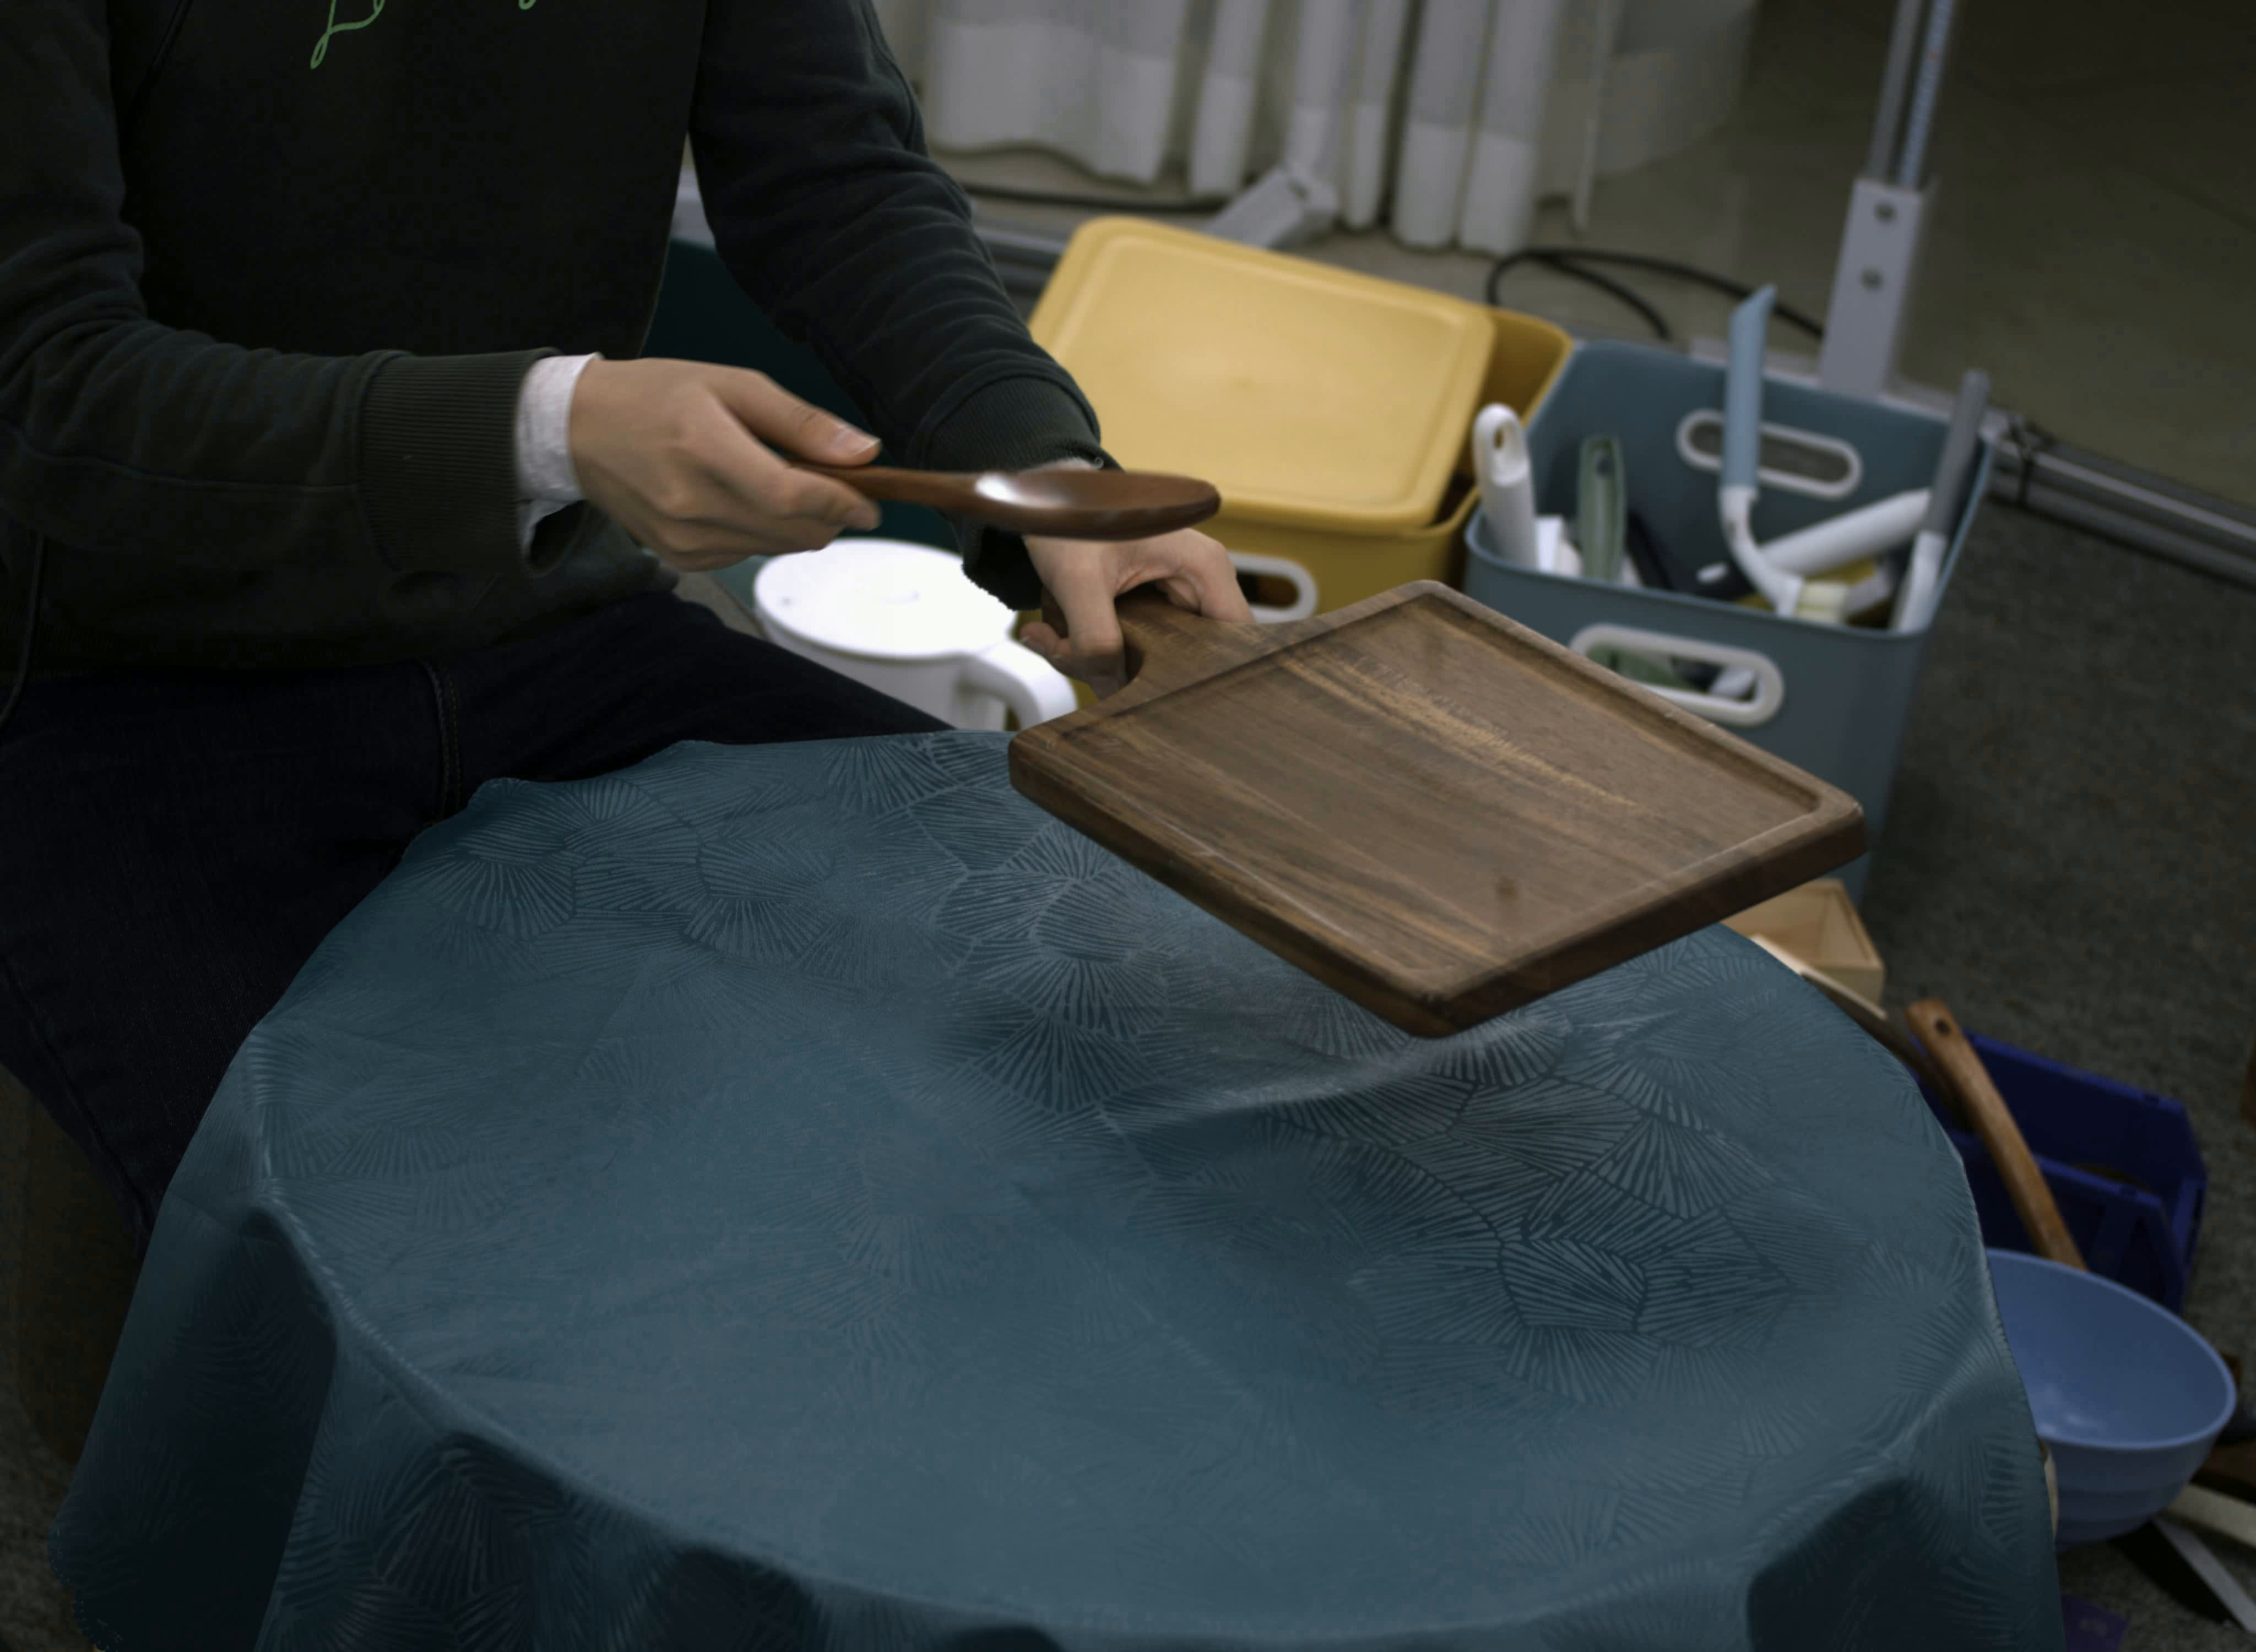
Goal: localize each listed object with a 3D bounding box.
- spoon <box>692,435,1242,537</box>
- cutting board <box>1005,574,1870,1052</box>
[{"bbox_3d":[-0.059,-0.118,1.829,0.217,0.017,0.075,8,21,31],"label":"spoon"},{"bbox_3d":[0.076,-0.025,1.891,0.200,0.023,0.355,-23,32,-28],"label":"cutting board"}]
